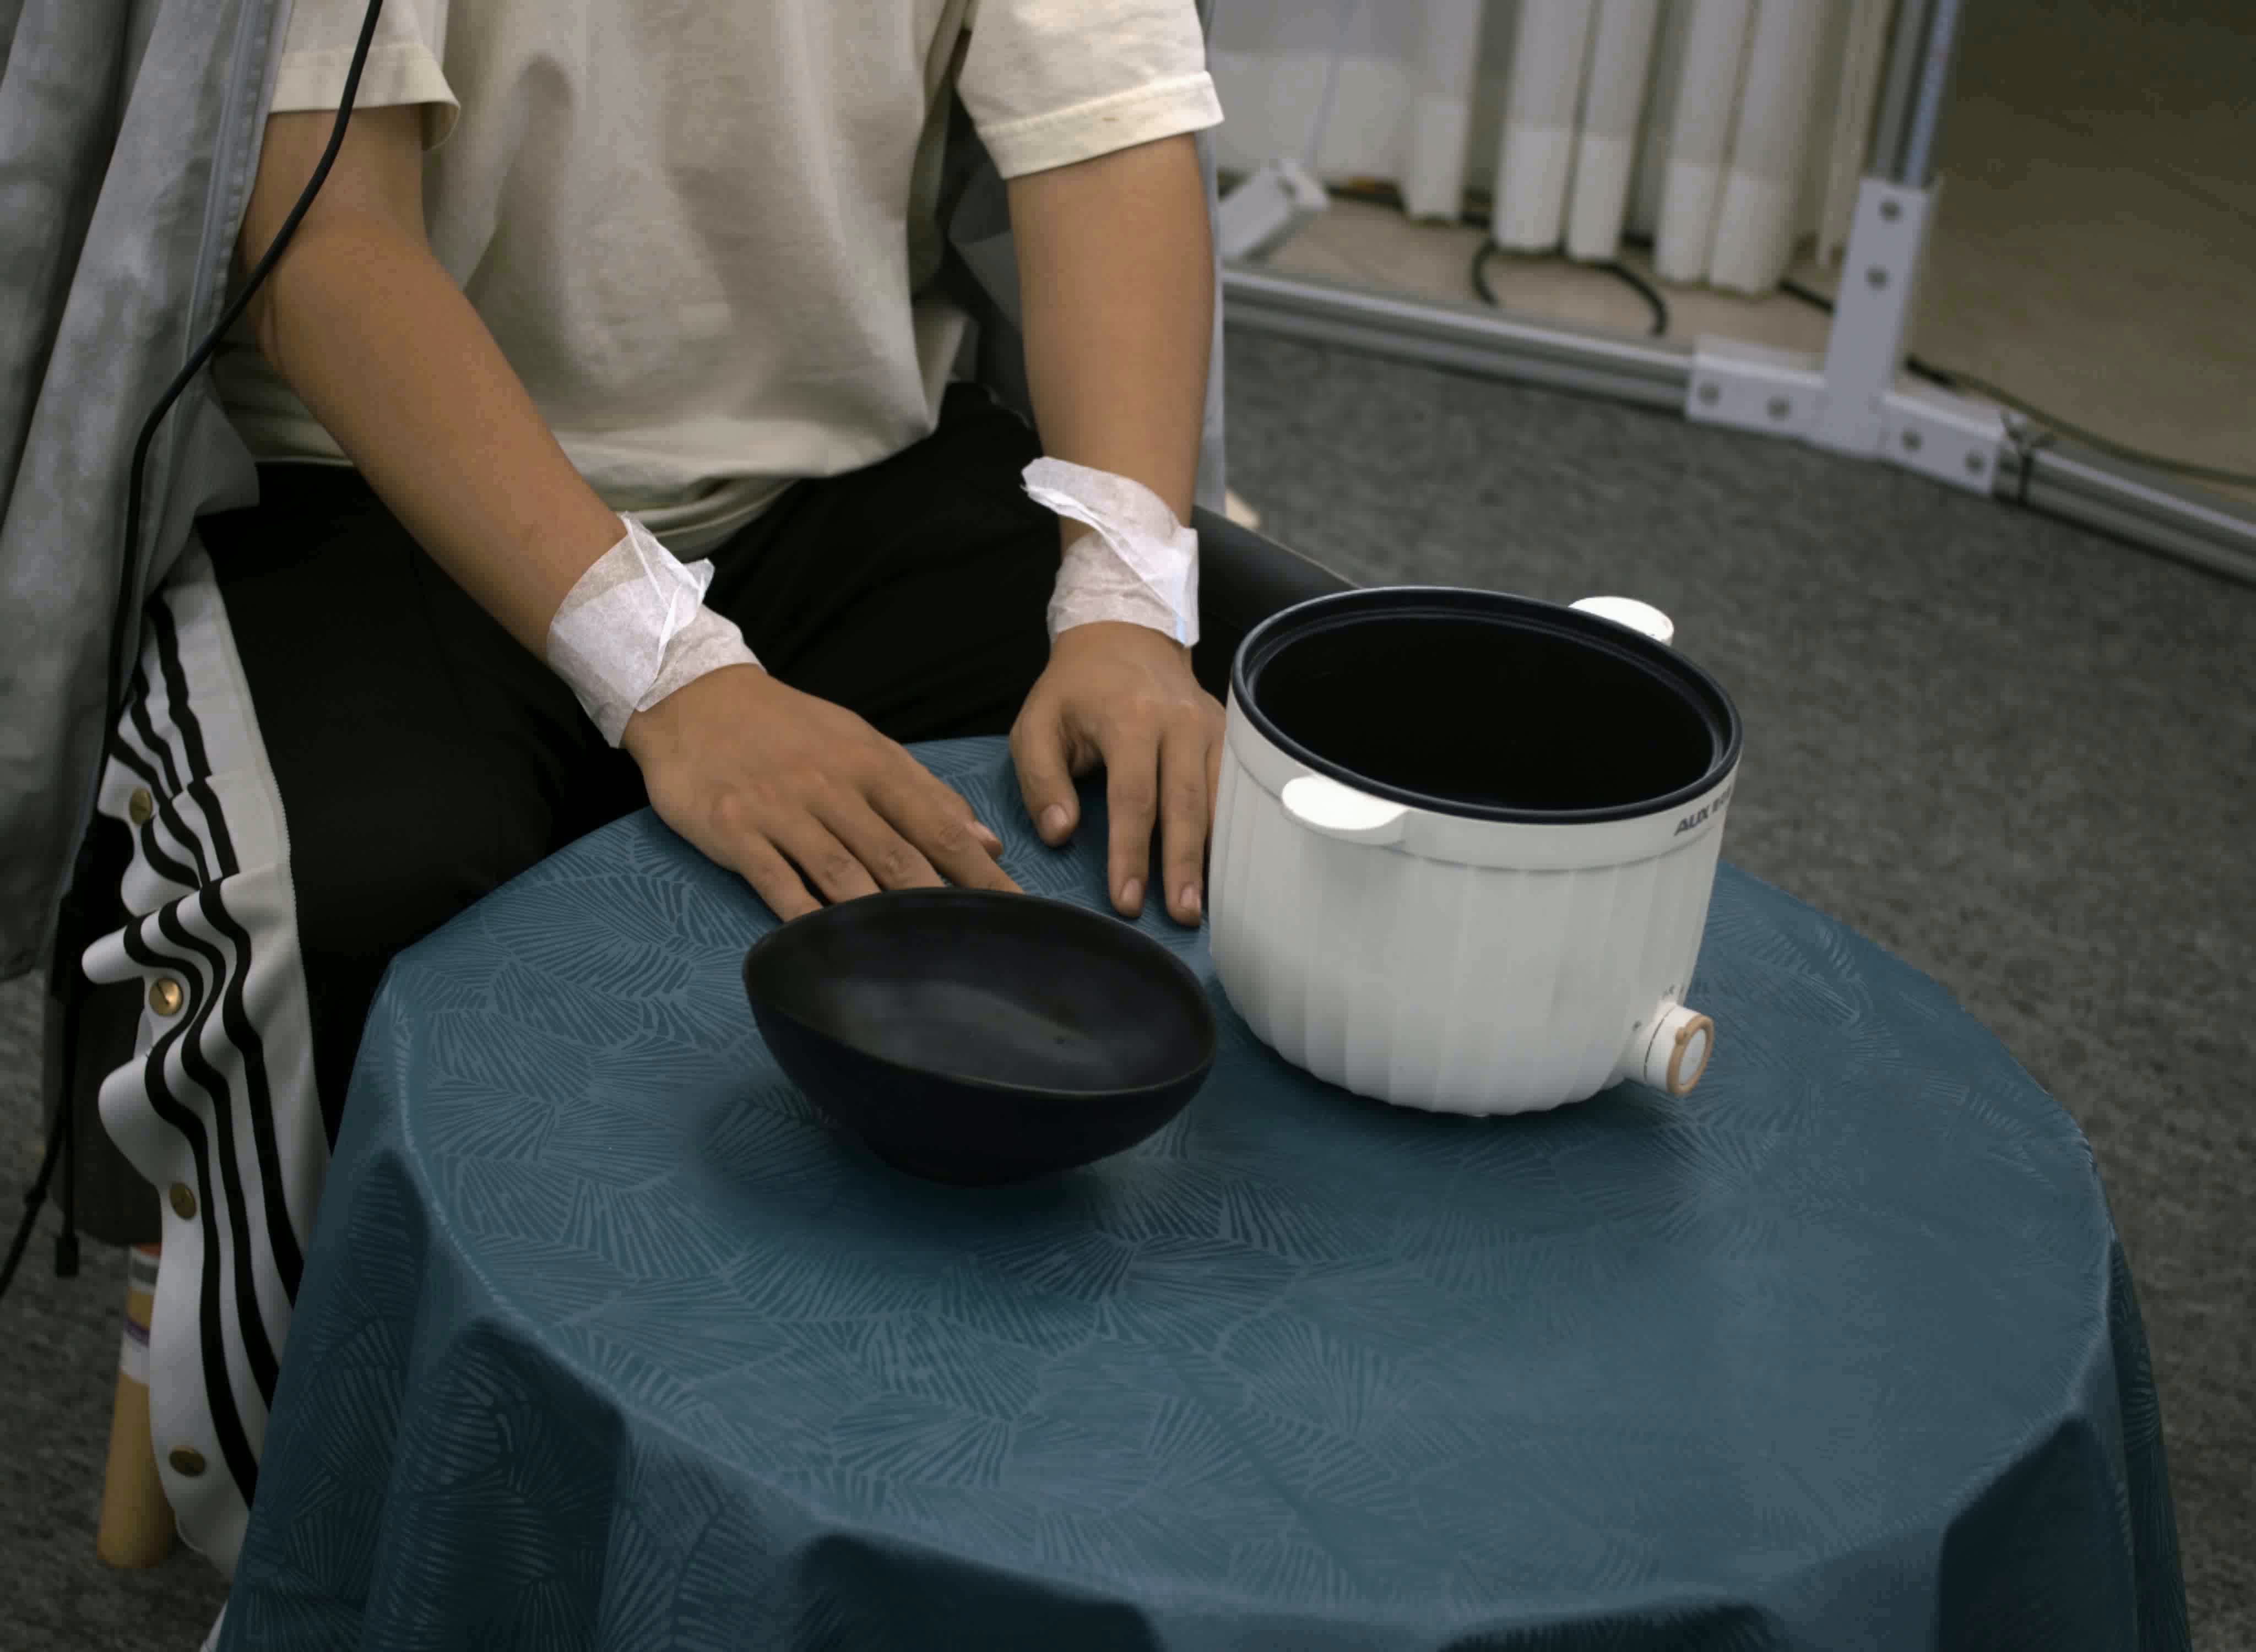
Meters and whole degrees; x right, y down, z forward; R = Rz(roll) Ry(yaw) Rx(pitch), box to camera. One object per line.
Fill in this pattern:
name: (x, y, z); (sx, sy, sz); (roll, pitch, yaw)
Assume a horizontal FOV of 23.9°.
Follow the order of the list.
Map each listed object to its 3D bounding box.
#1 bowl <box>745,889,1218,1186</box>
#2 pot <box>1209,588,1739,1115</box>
bowl: (-0.054, 0.080, 1.809); (0.171, 0.066, 0.137); (17, 27, 21)
pot: (0.124, 0.014, 1.896); (0.191, 0.142, 0.240); (18, 29, 28)
